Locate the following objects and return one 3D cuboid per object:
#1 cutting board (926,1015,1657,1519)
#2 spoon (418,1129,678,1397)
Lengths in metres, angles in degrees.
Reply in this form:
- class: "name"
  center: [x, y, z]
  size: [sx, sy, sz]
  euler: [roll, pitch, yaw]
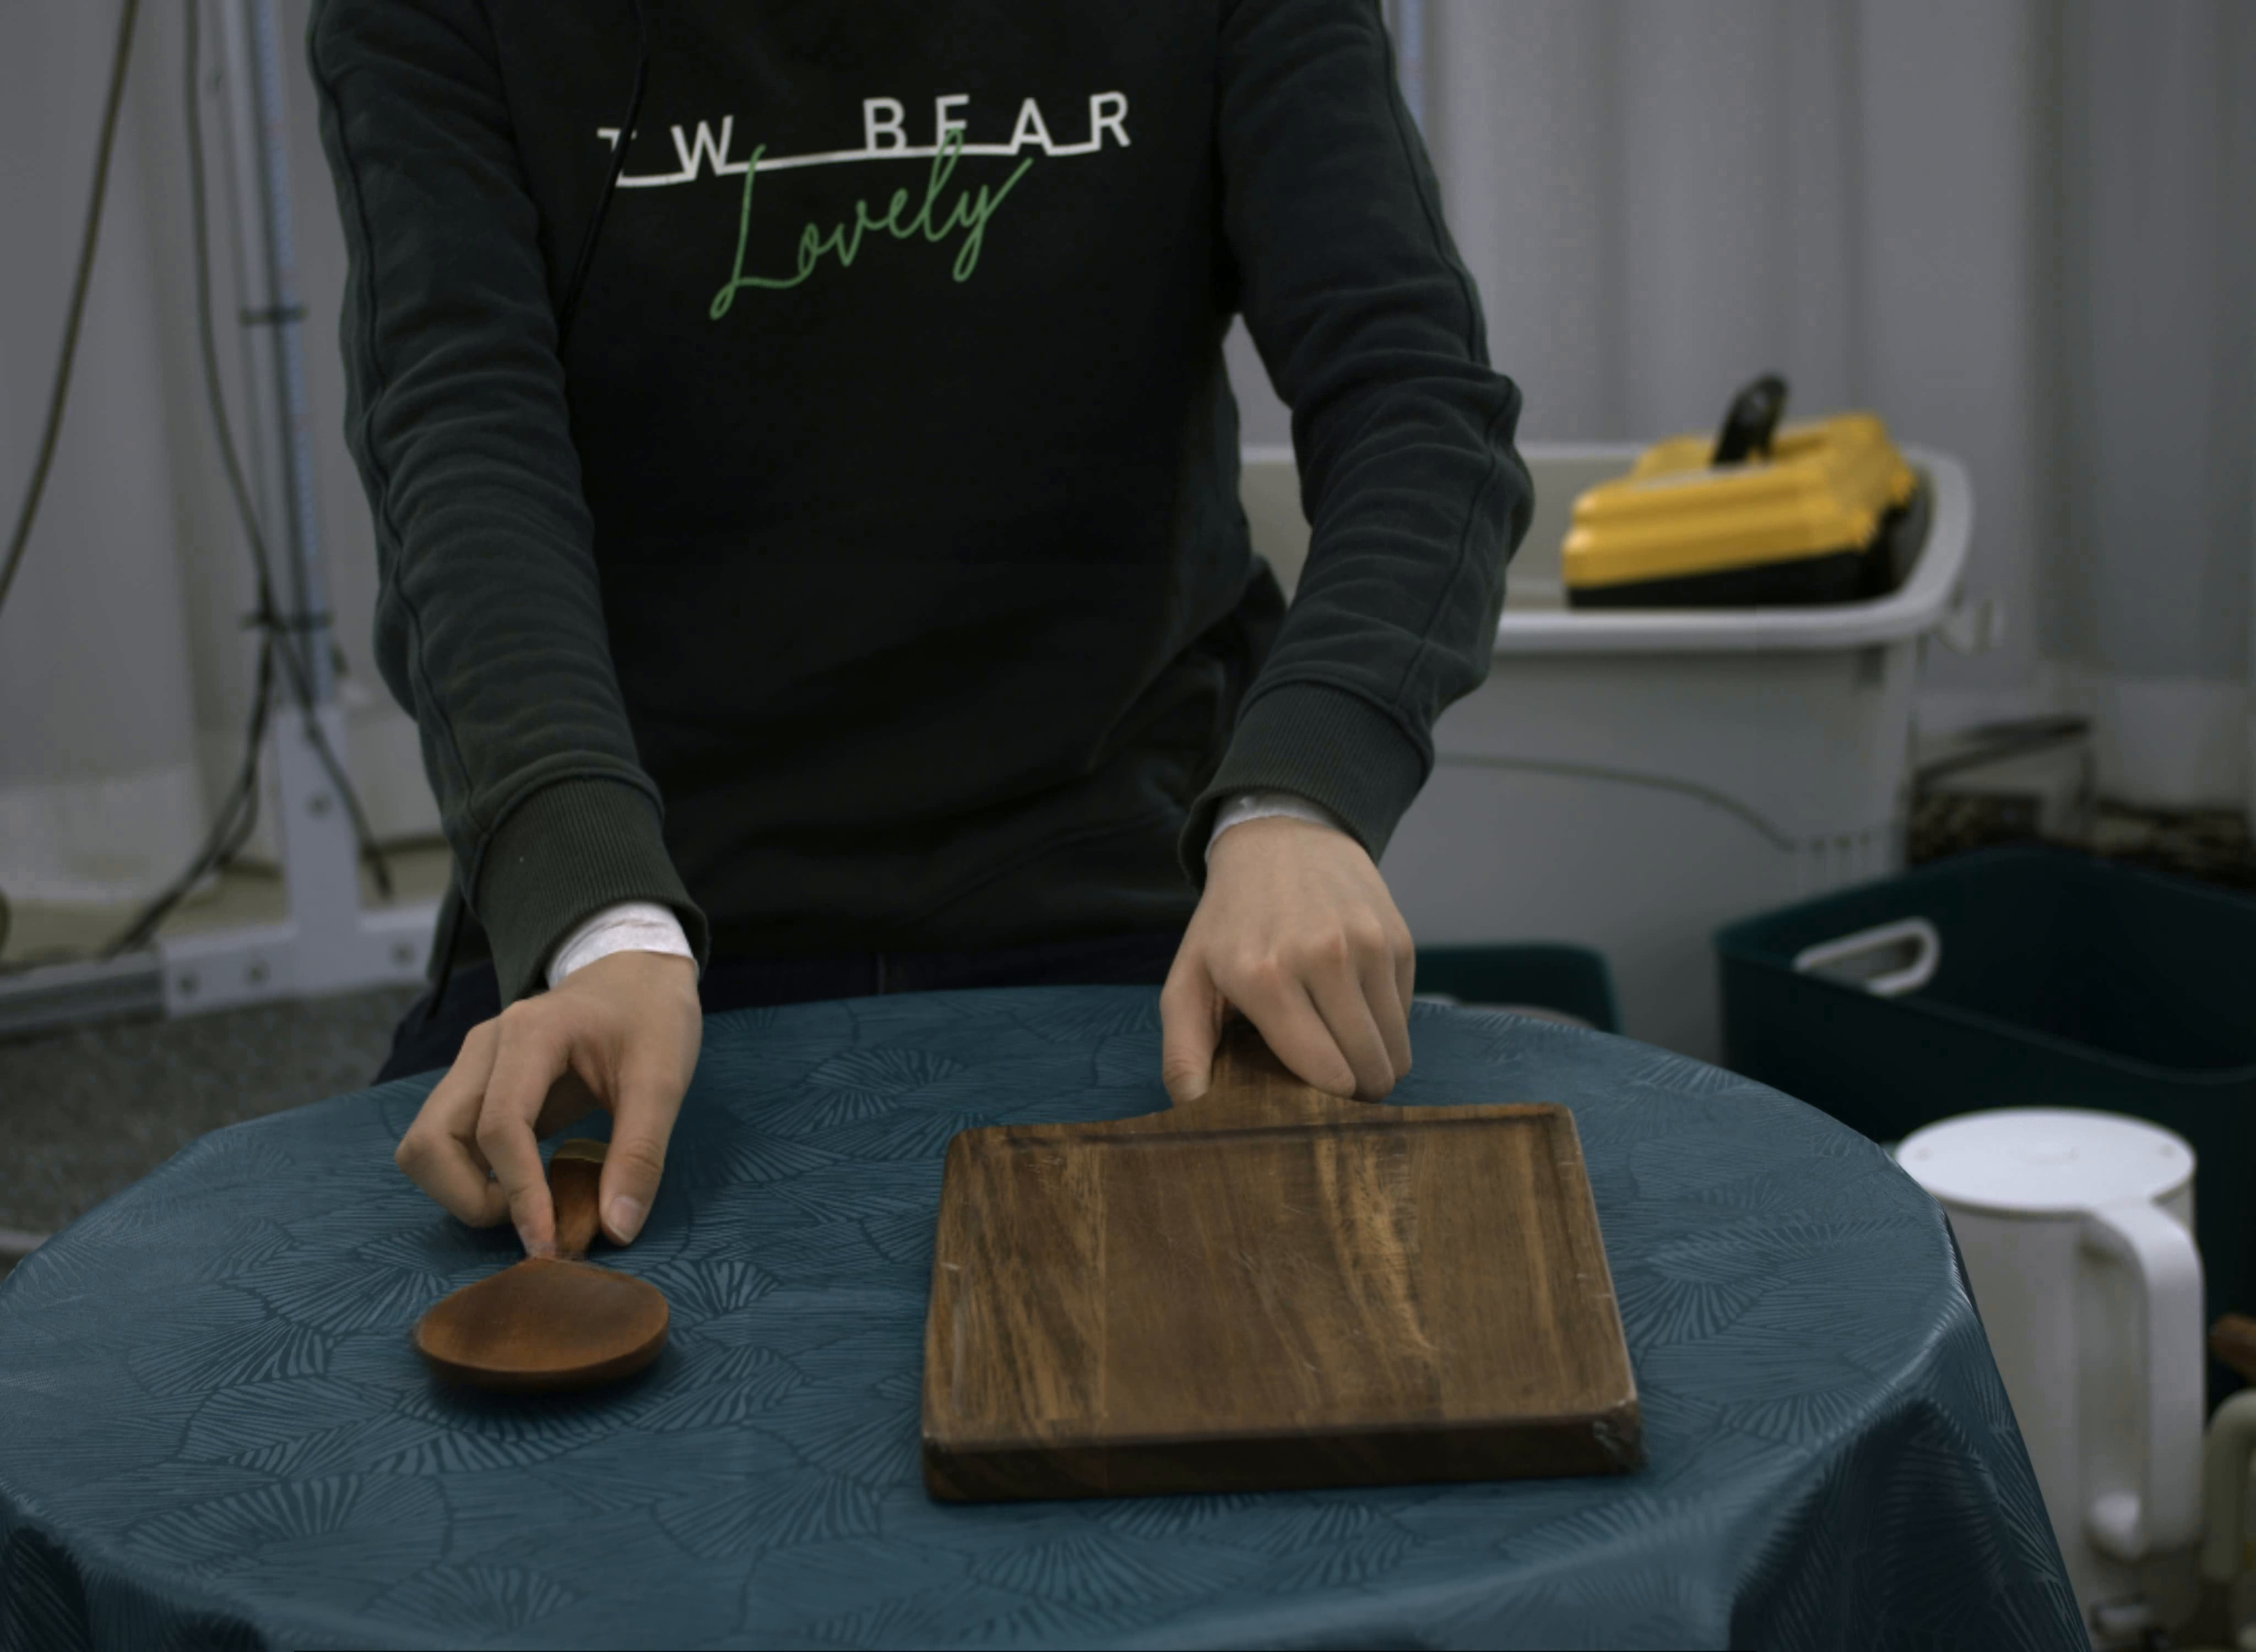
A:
- class: "cutting board"
  center: [0.042, 0.122, 1.629]
  size: [0.200, 0.023, 0.355]
  euler: [-4, 16, 1]
- class: "spoon"
  center: [-0.169, 0.132, 1.645]
  size: [0.075, 0.017, 0.217]
  euler: [-5, 16, 0]
